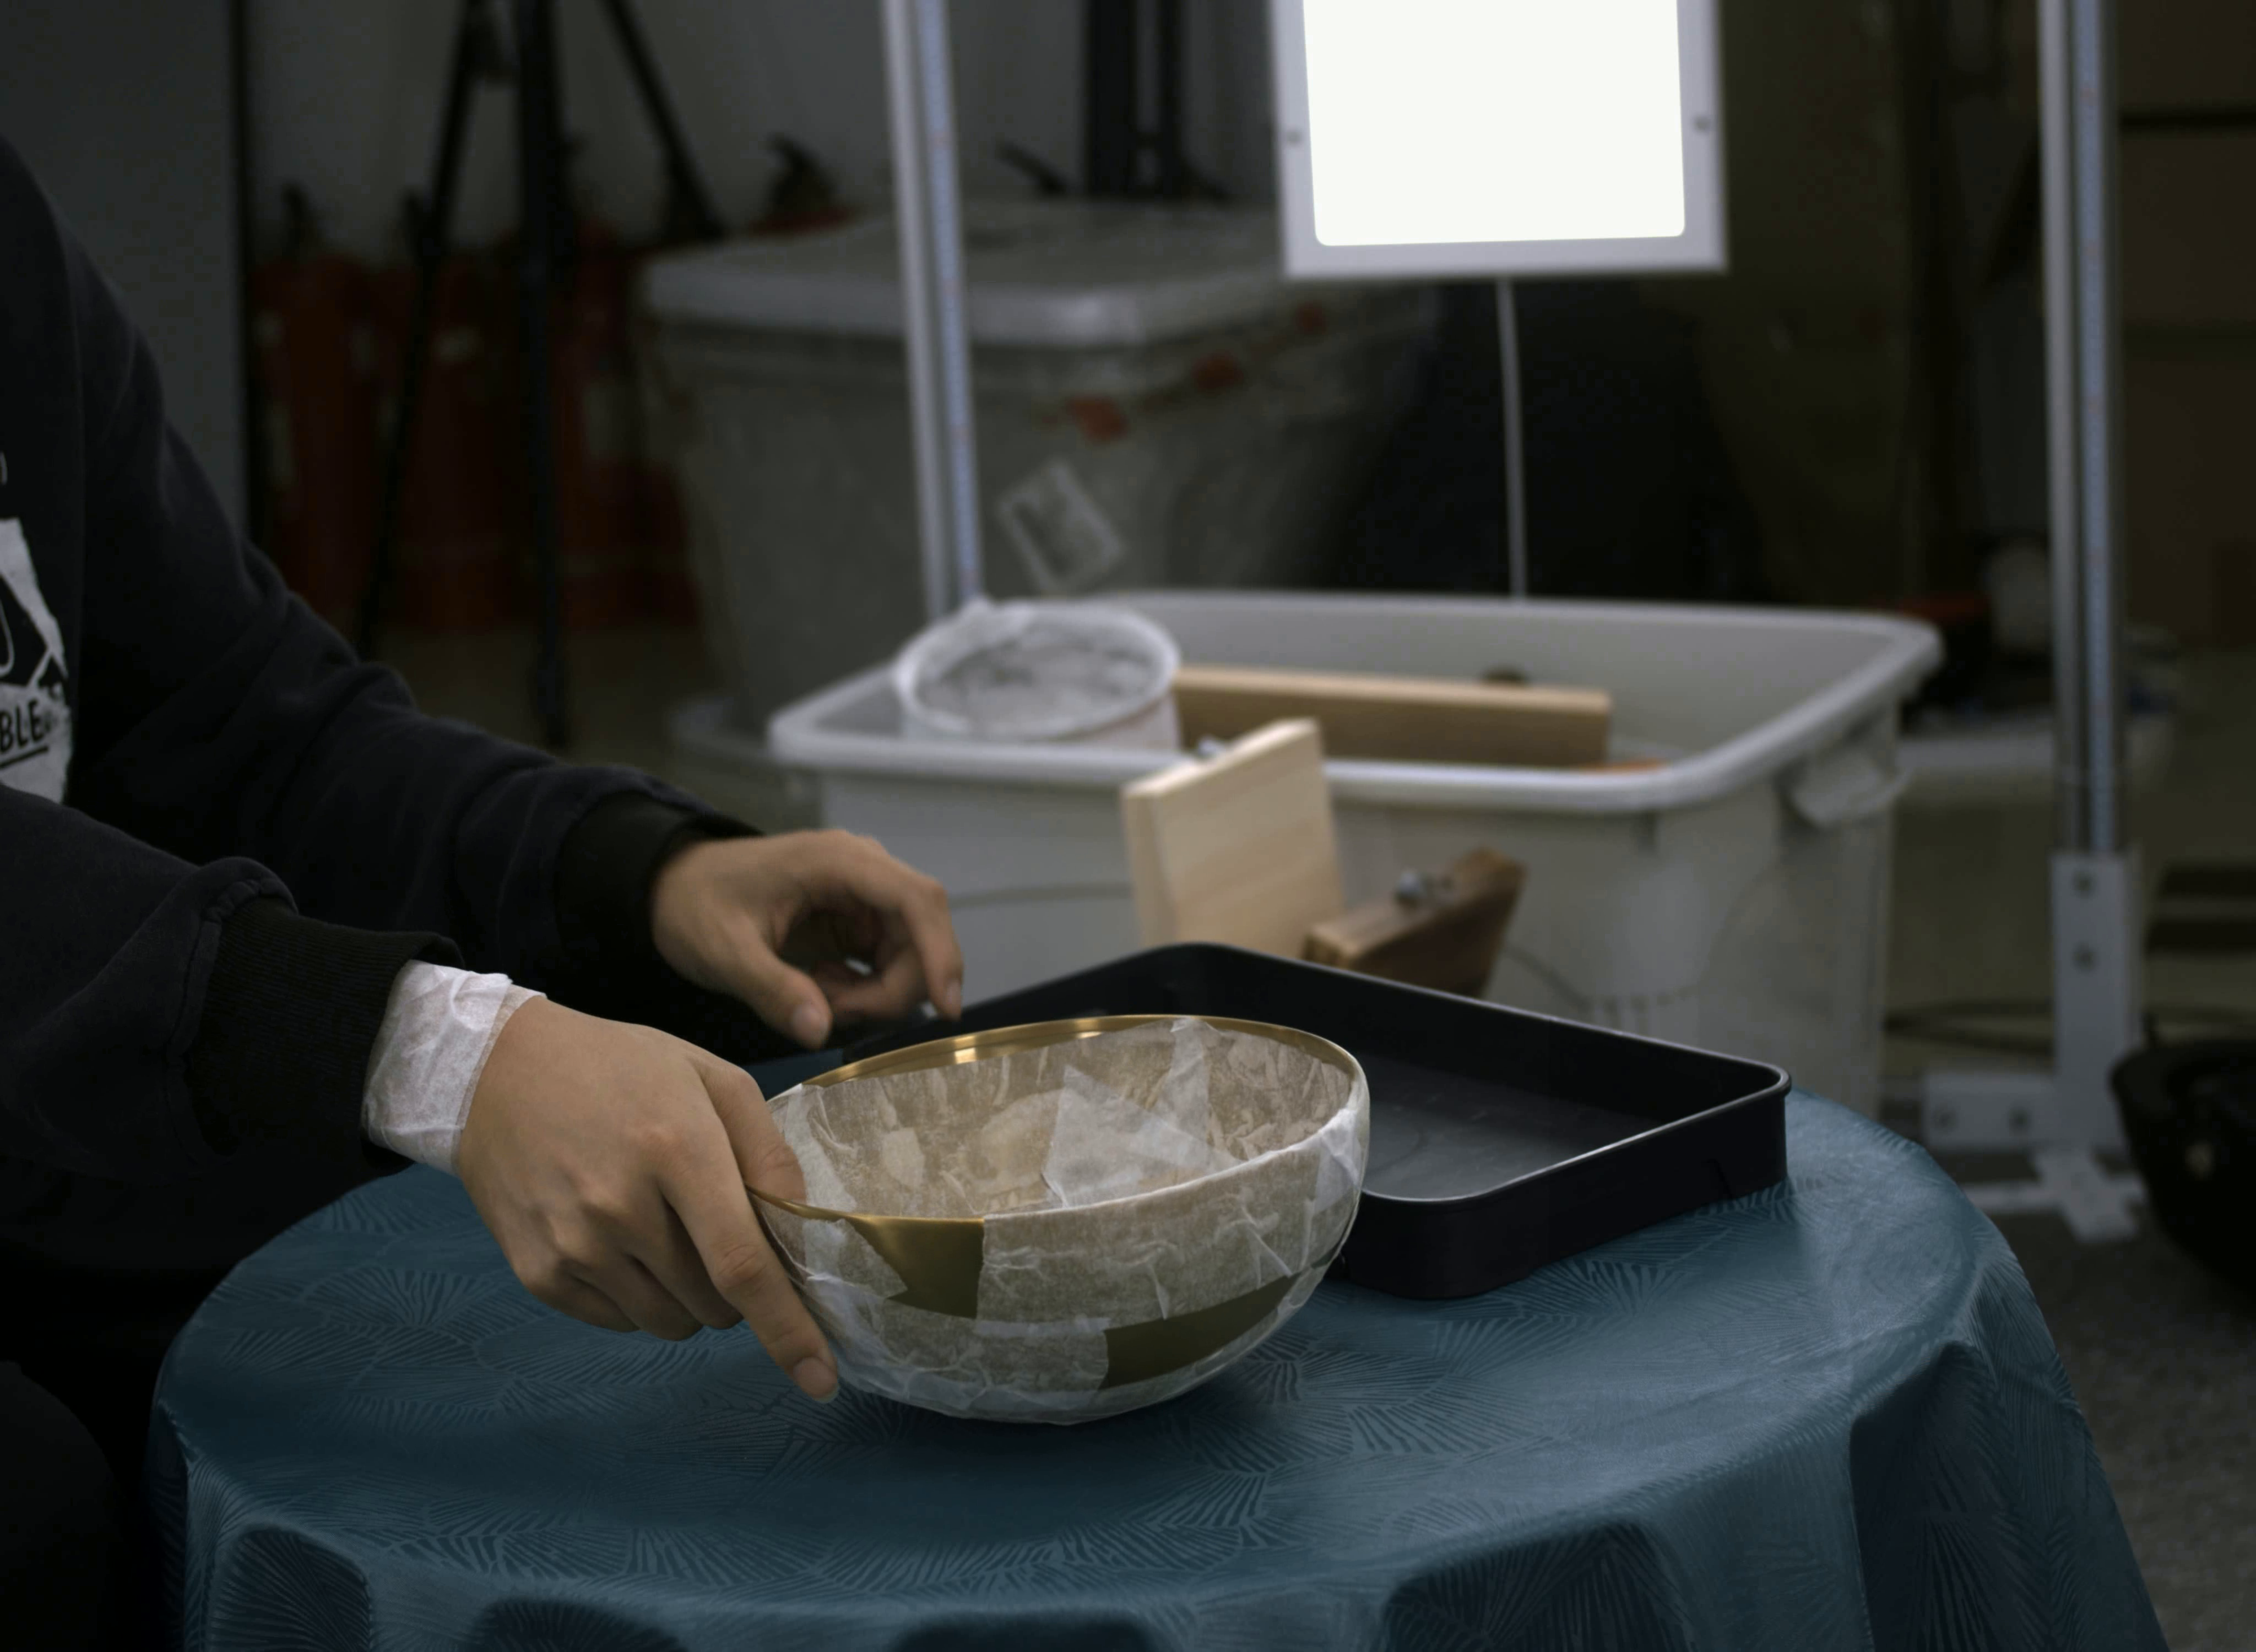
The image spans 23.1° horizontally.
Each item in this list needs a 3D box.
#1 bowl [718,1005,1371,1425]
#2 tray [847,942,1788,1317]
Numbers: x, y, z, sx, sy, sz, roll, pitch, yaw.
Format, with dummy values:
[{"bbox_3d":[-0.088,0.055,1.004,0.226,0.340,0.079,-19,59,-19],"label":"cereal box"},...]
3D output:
[{"bbox_3d":[-0.022,0.128,1.701,0.214,0.095,0.214,-8,15,1],"label":"bowl"},{"bbox_3d":[0.062,0.101,1.916,0.179,0.037,0.324,-14,18,-37],"label":"tray"}]
